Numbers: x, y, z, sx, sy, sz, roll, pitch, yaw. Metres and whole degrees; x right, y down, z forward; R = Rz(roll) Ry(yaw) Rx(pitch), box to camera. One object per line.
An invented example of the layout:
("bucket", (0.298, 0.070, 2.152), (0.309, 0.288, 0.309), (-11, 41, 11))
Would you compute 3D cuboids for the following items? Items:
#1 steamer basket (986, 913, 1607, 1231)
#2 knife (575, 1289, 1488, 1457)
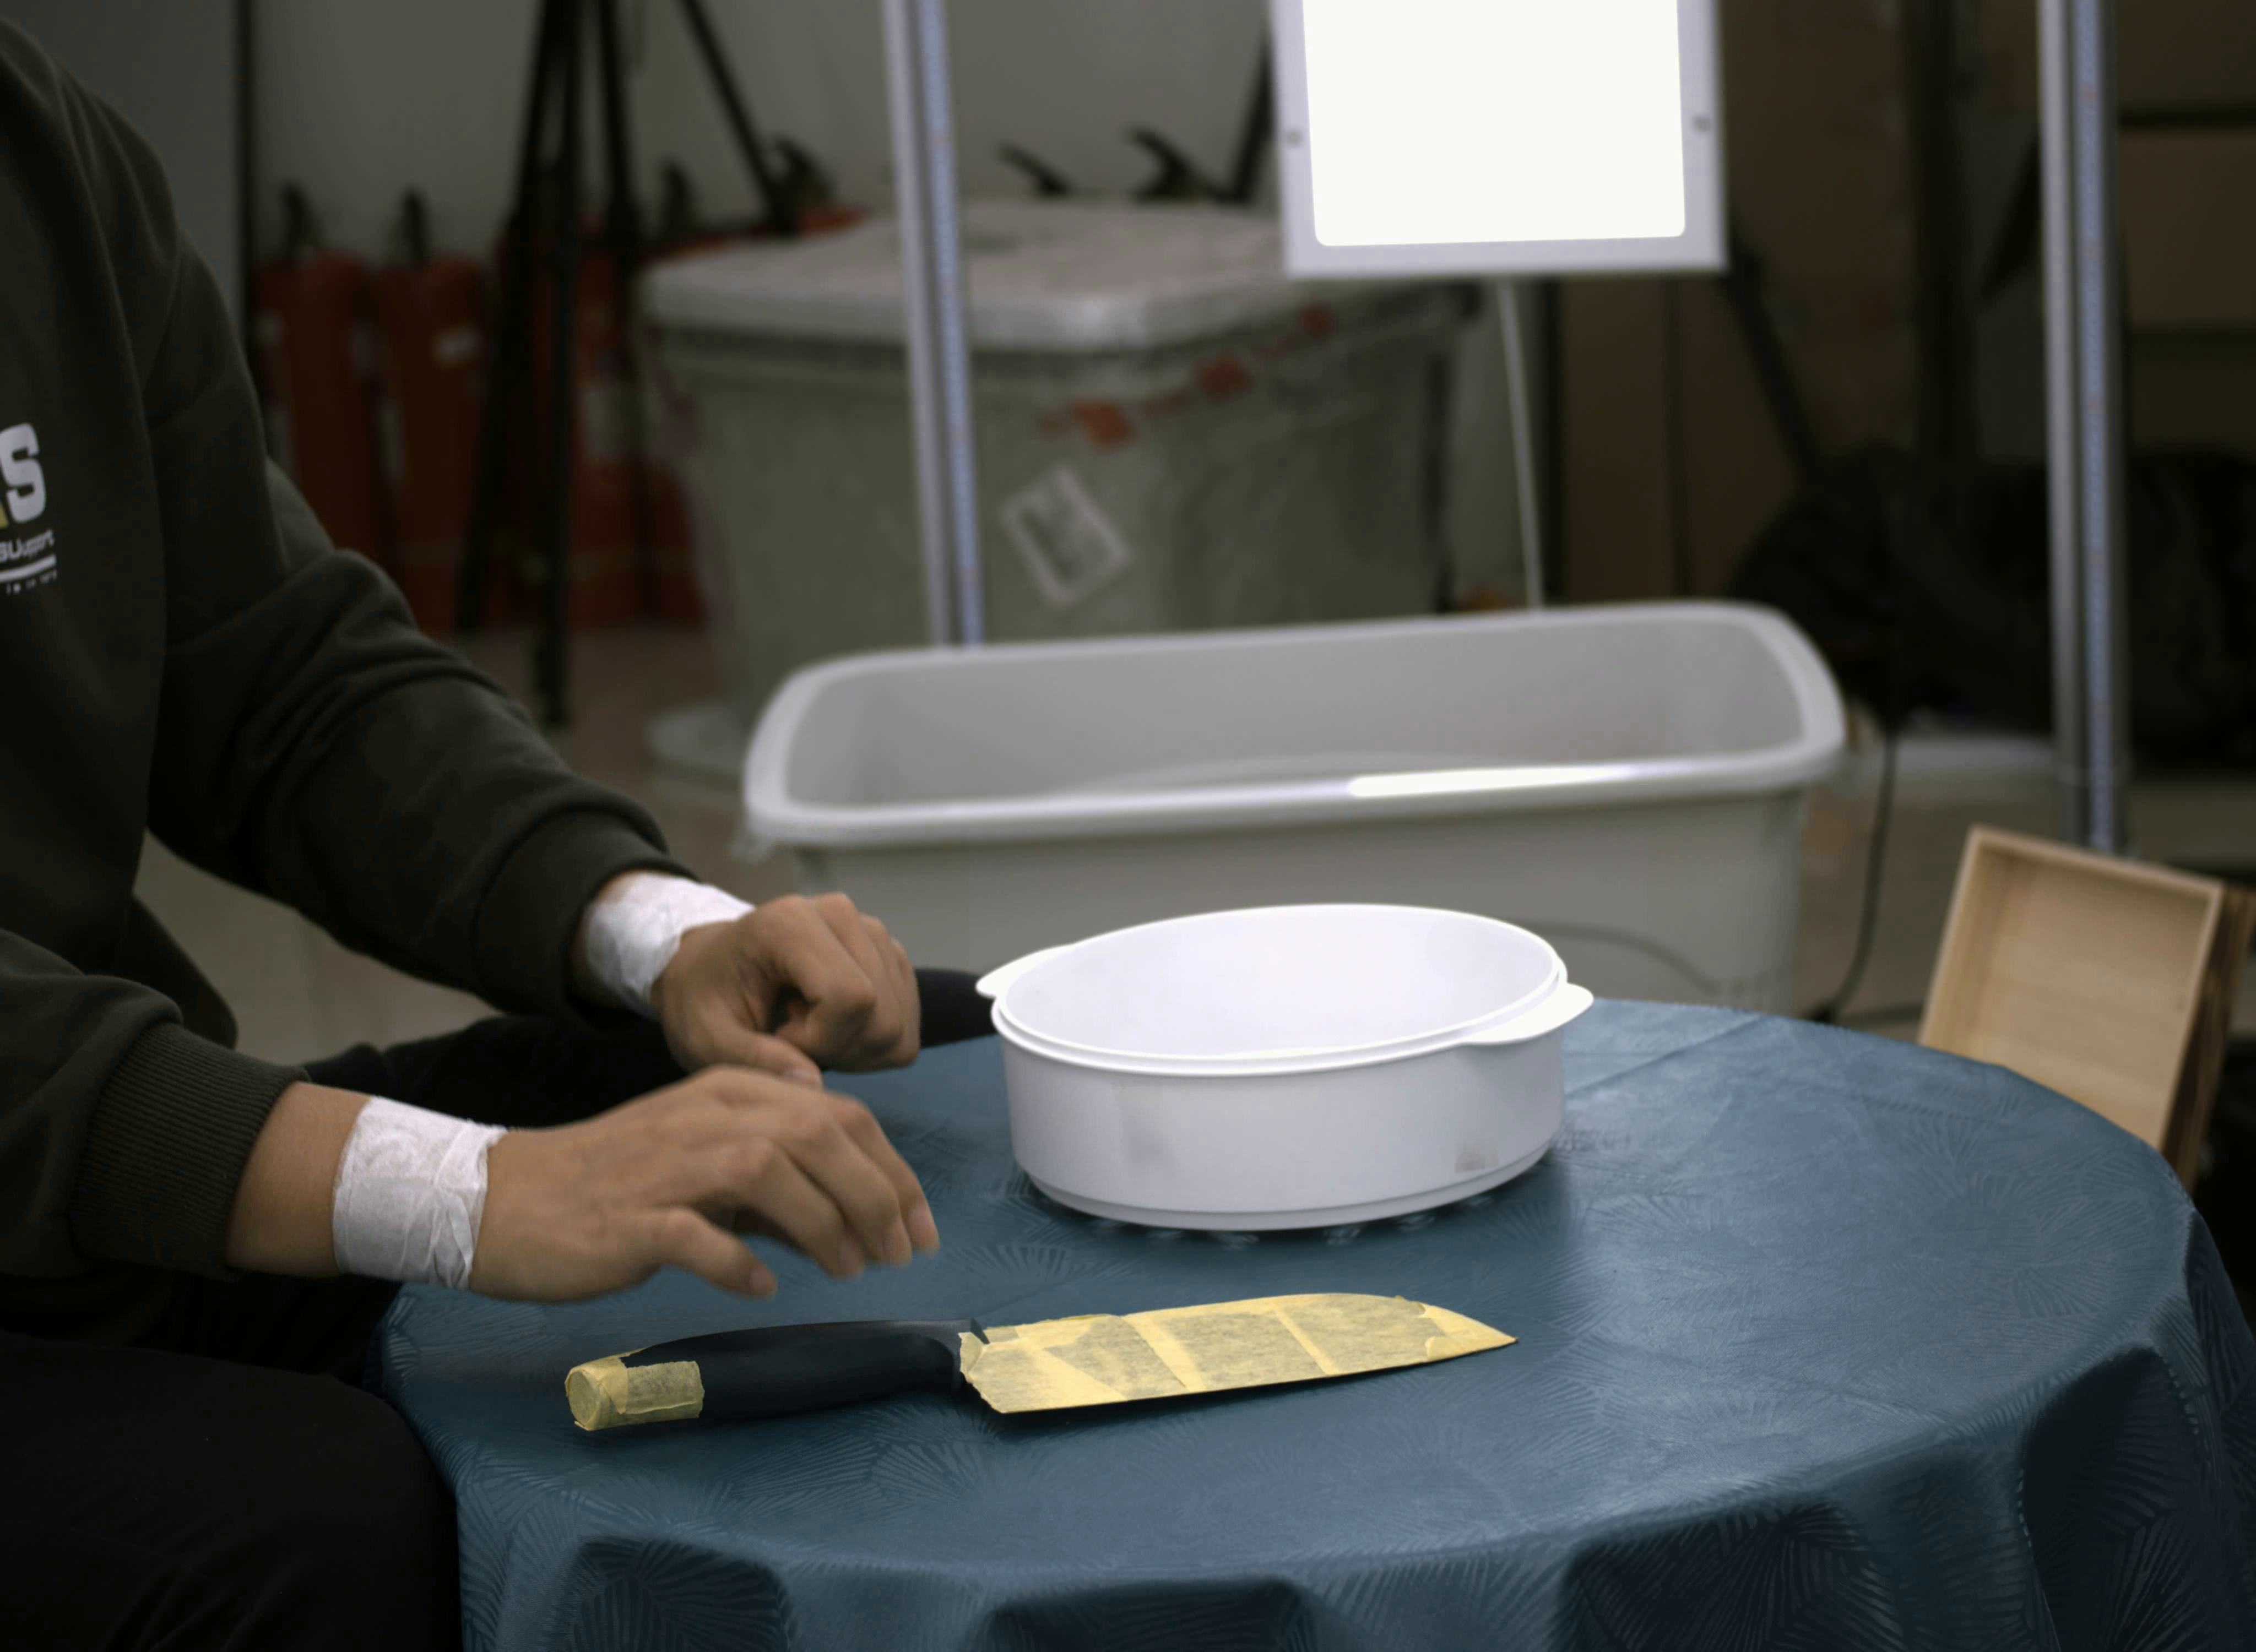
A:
("steamer basket", (0.059, 0.085, 1.910), (0.235, 0.069, 0.197), (3, 15, 34))
("knife", (-0.027, 0.169, 1.709), (0.286, 0.027, 0.081), (-7, 13, -9))
